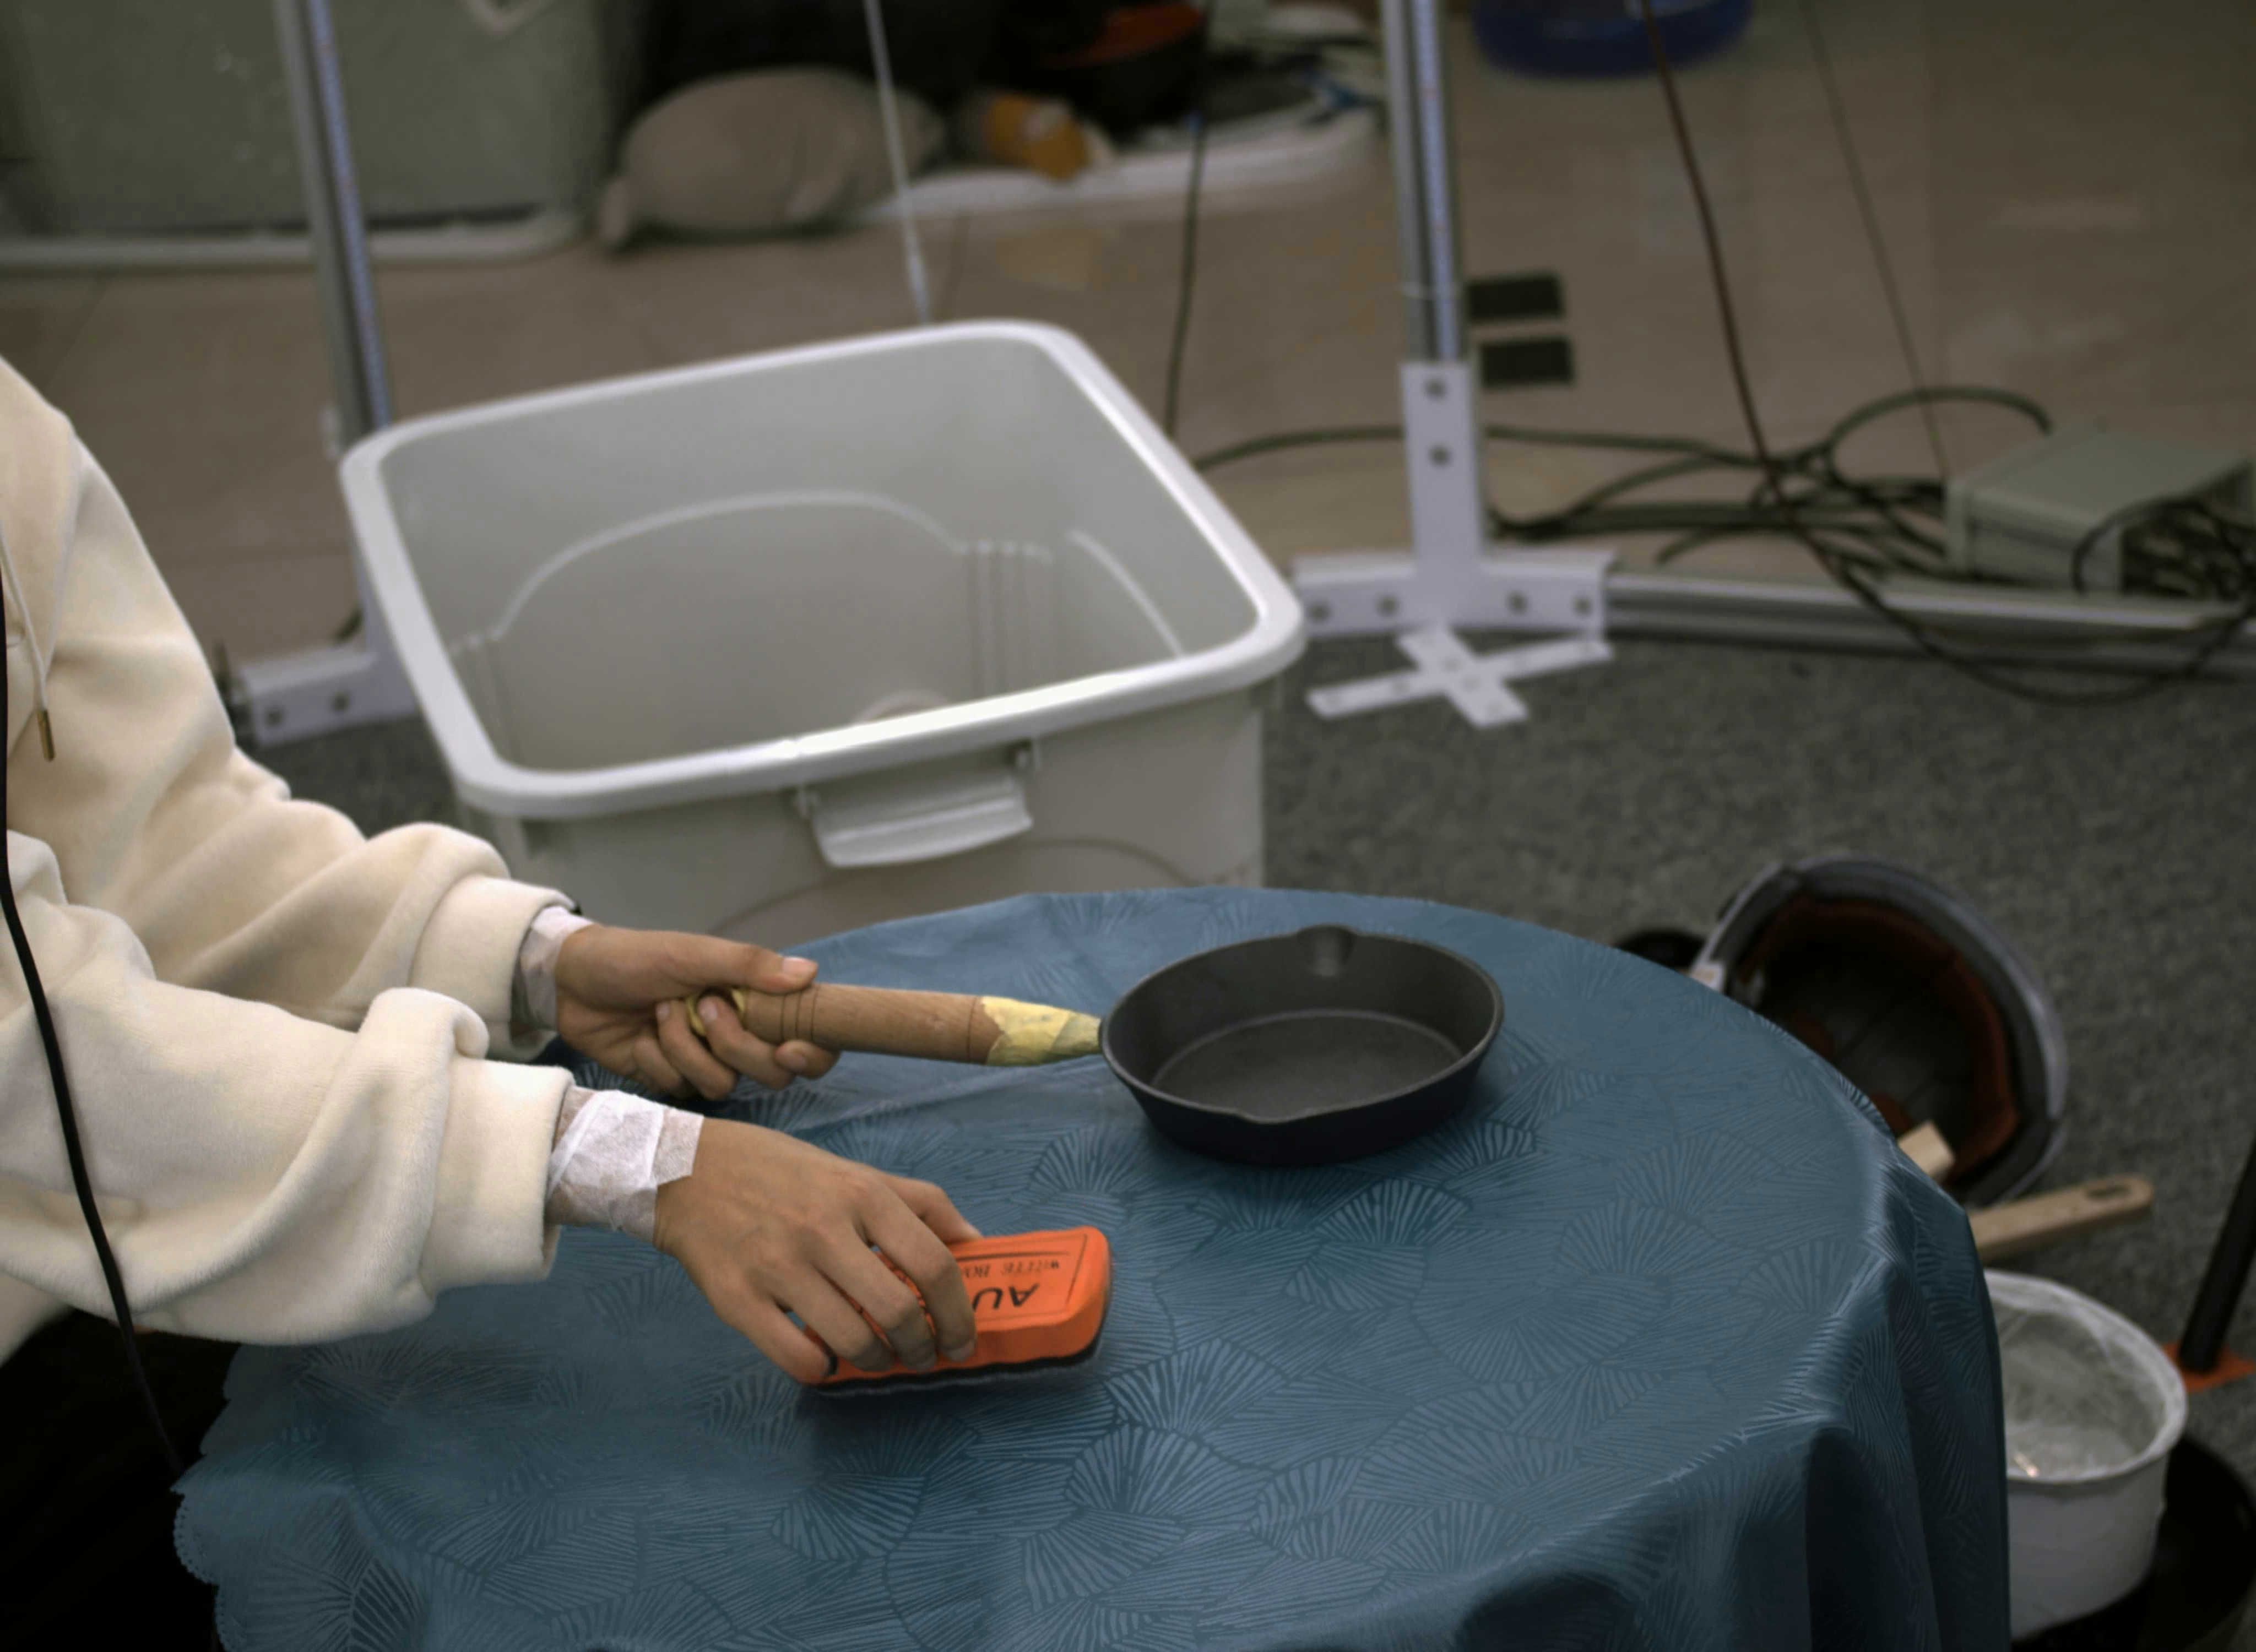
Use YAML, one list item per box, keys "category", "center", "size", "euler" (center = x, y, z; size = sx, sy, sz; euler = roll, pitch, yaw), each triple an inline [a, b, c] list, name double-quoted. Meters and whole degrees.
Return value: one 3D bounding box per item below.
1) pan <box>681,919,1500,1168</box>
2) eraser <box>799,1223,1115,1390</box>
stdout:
- category: "pan"
  center: [-0.015, 0.082, 2.212]
  size: [0.323, 0.050, 0.166]
  euler: [1, 26, 11]
- category: "eraser"
  center: [-0.061, 0.172, 2.038]
  size: [0.108, 0.023, 0.058]
  euler: [-7, 35, 20]
